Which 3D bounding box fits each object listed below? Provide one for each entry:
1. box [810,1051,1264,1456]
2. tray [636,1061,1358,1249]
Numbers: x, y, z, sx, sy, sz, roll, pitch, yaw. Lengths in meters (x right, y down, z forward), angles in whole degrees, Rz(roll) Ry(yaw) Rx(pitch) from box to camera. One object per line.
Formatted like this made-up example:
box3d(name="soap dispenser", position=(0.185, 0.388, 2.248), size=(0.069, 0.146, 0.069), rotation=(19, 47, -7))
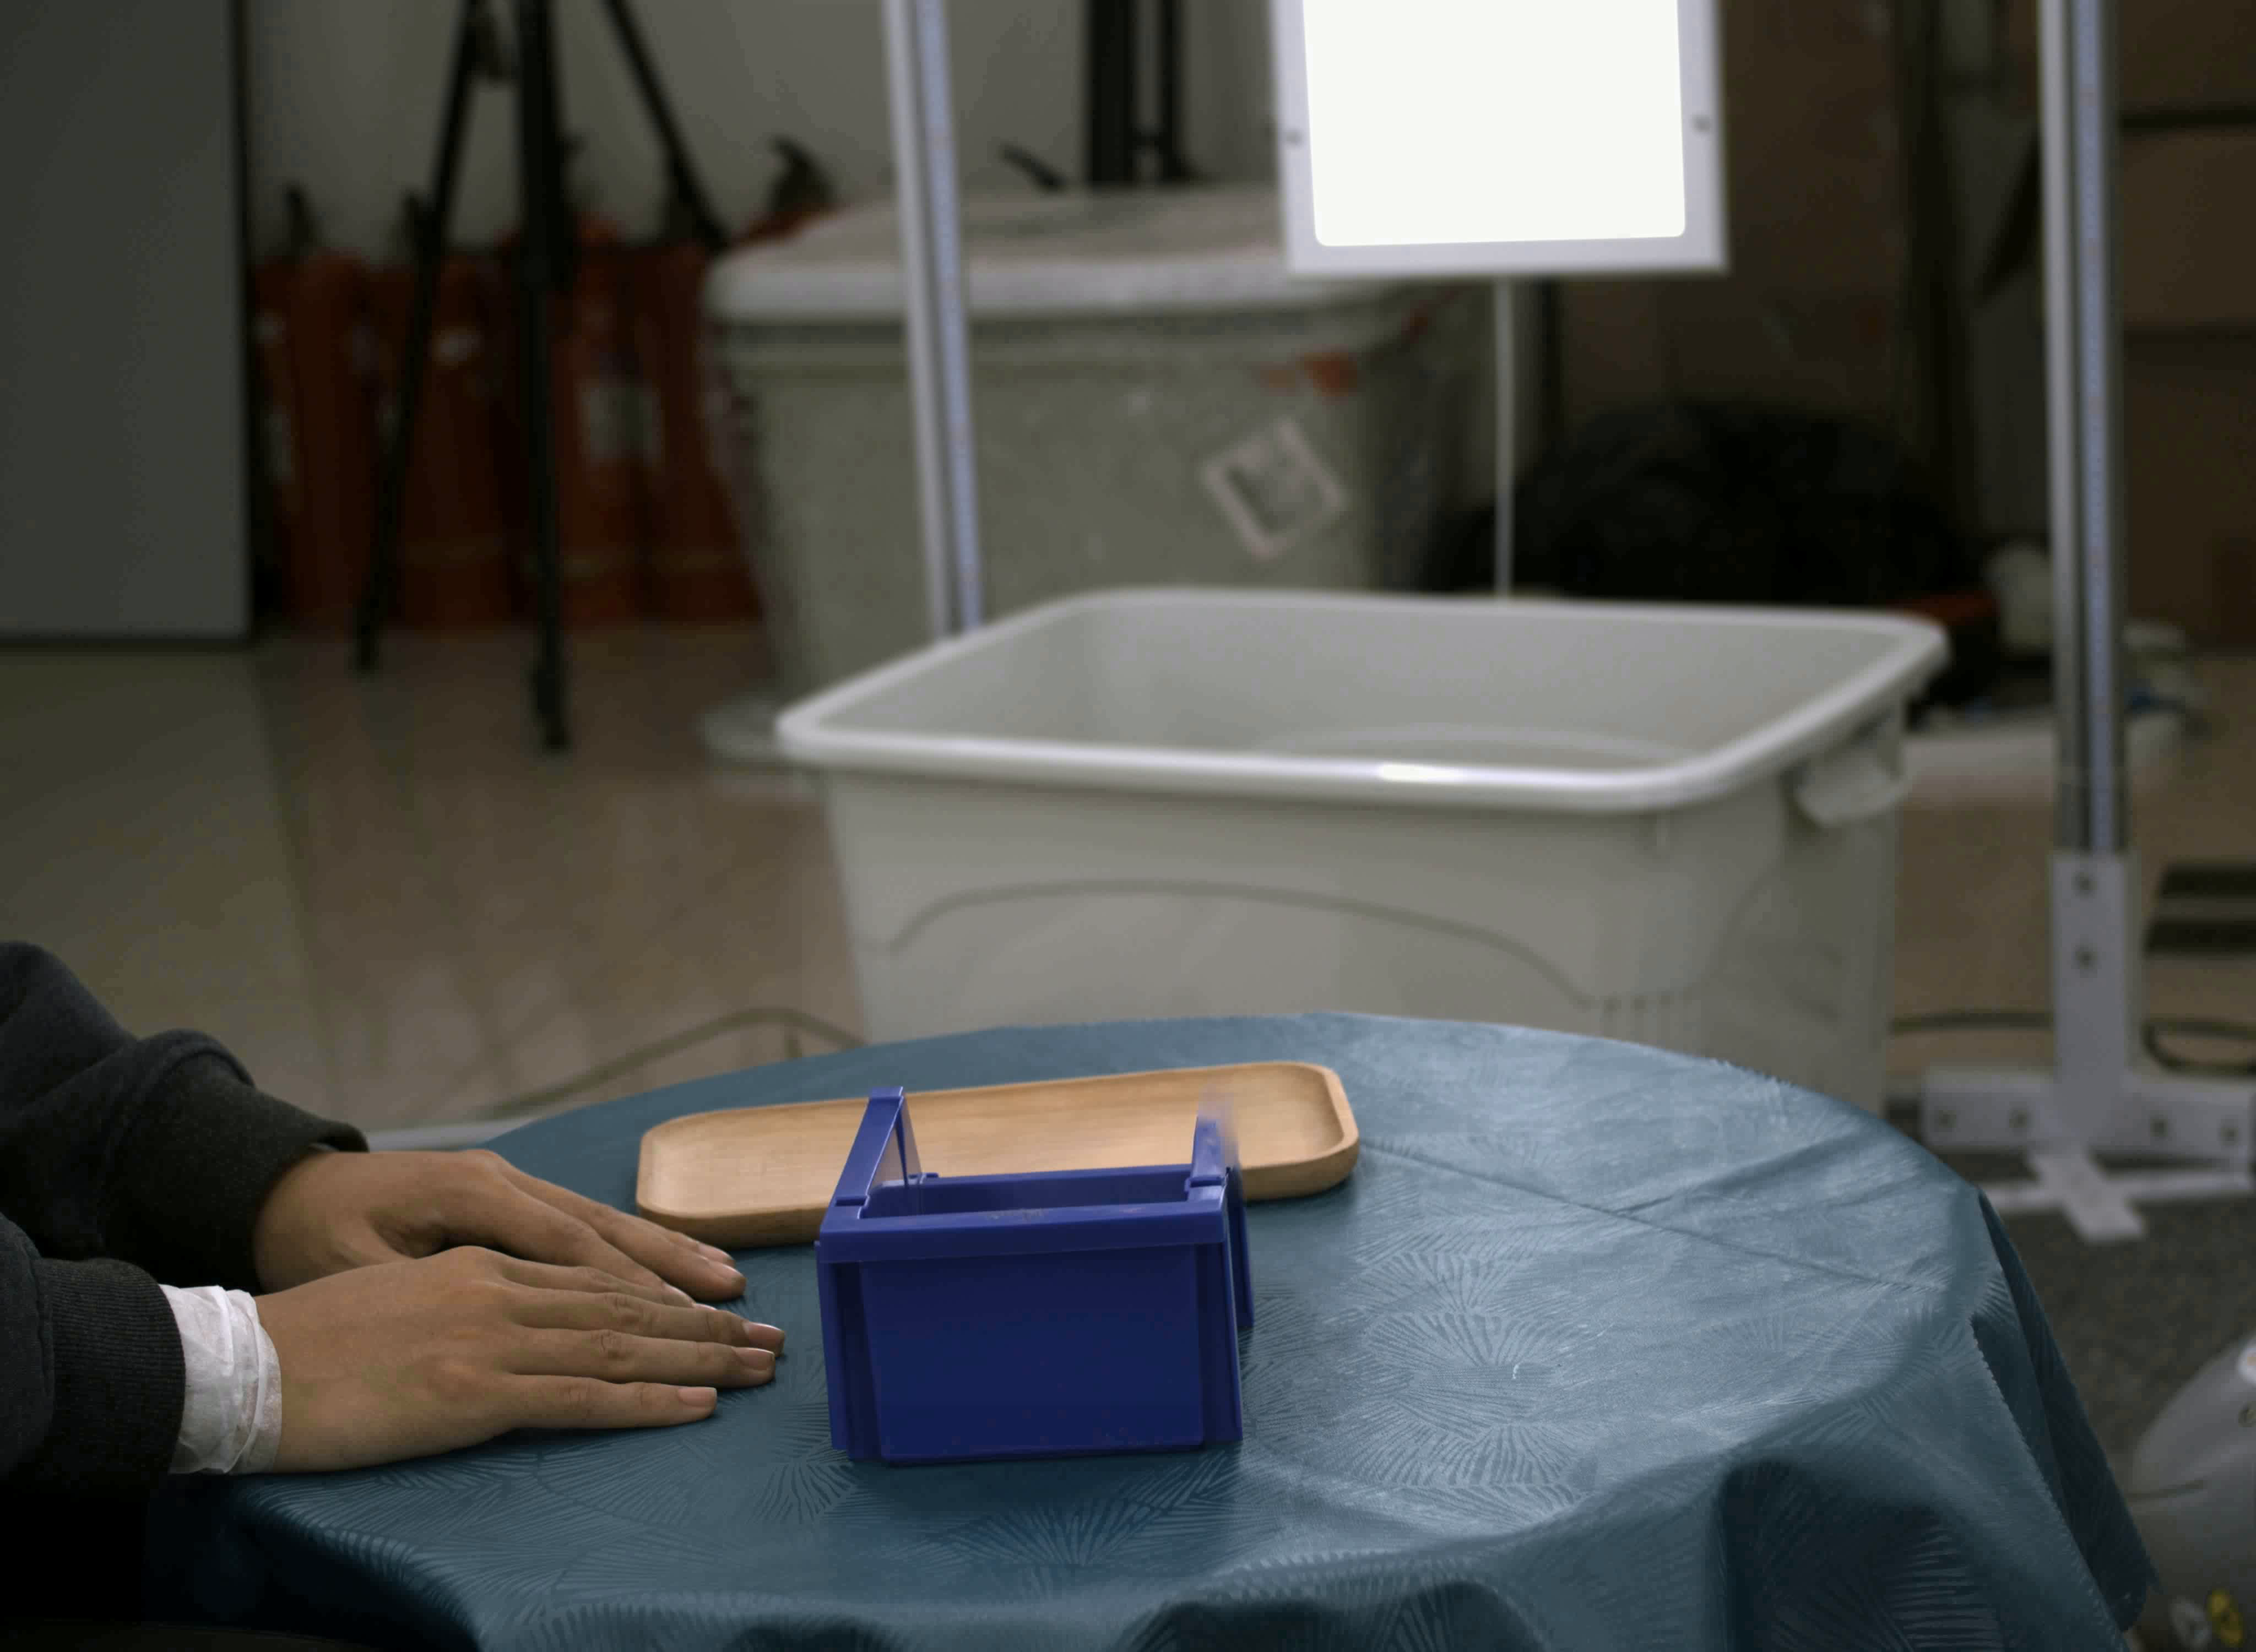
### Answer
box3d(name="box", position=(-0.026, 0.129, 1.722), size=(0.125, 0.082, 0.178), rotation=(-3, 17, 7))
box3d(name="tray", position=(-0.046, 0.115, 1.926), size=(0.250, 0.023, 0.130), rotation=(-6, 11, 0))
